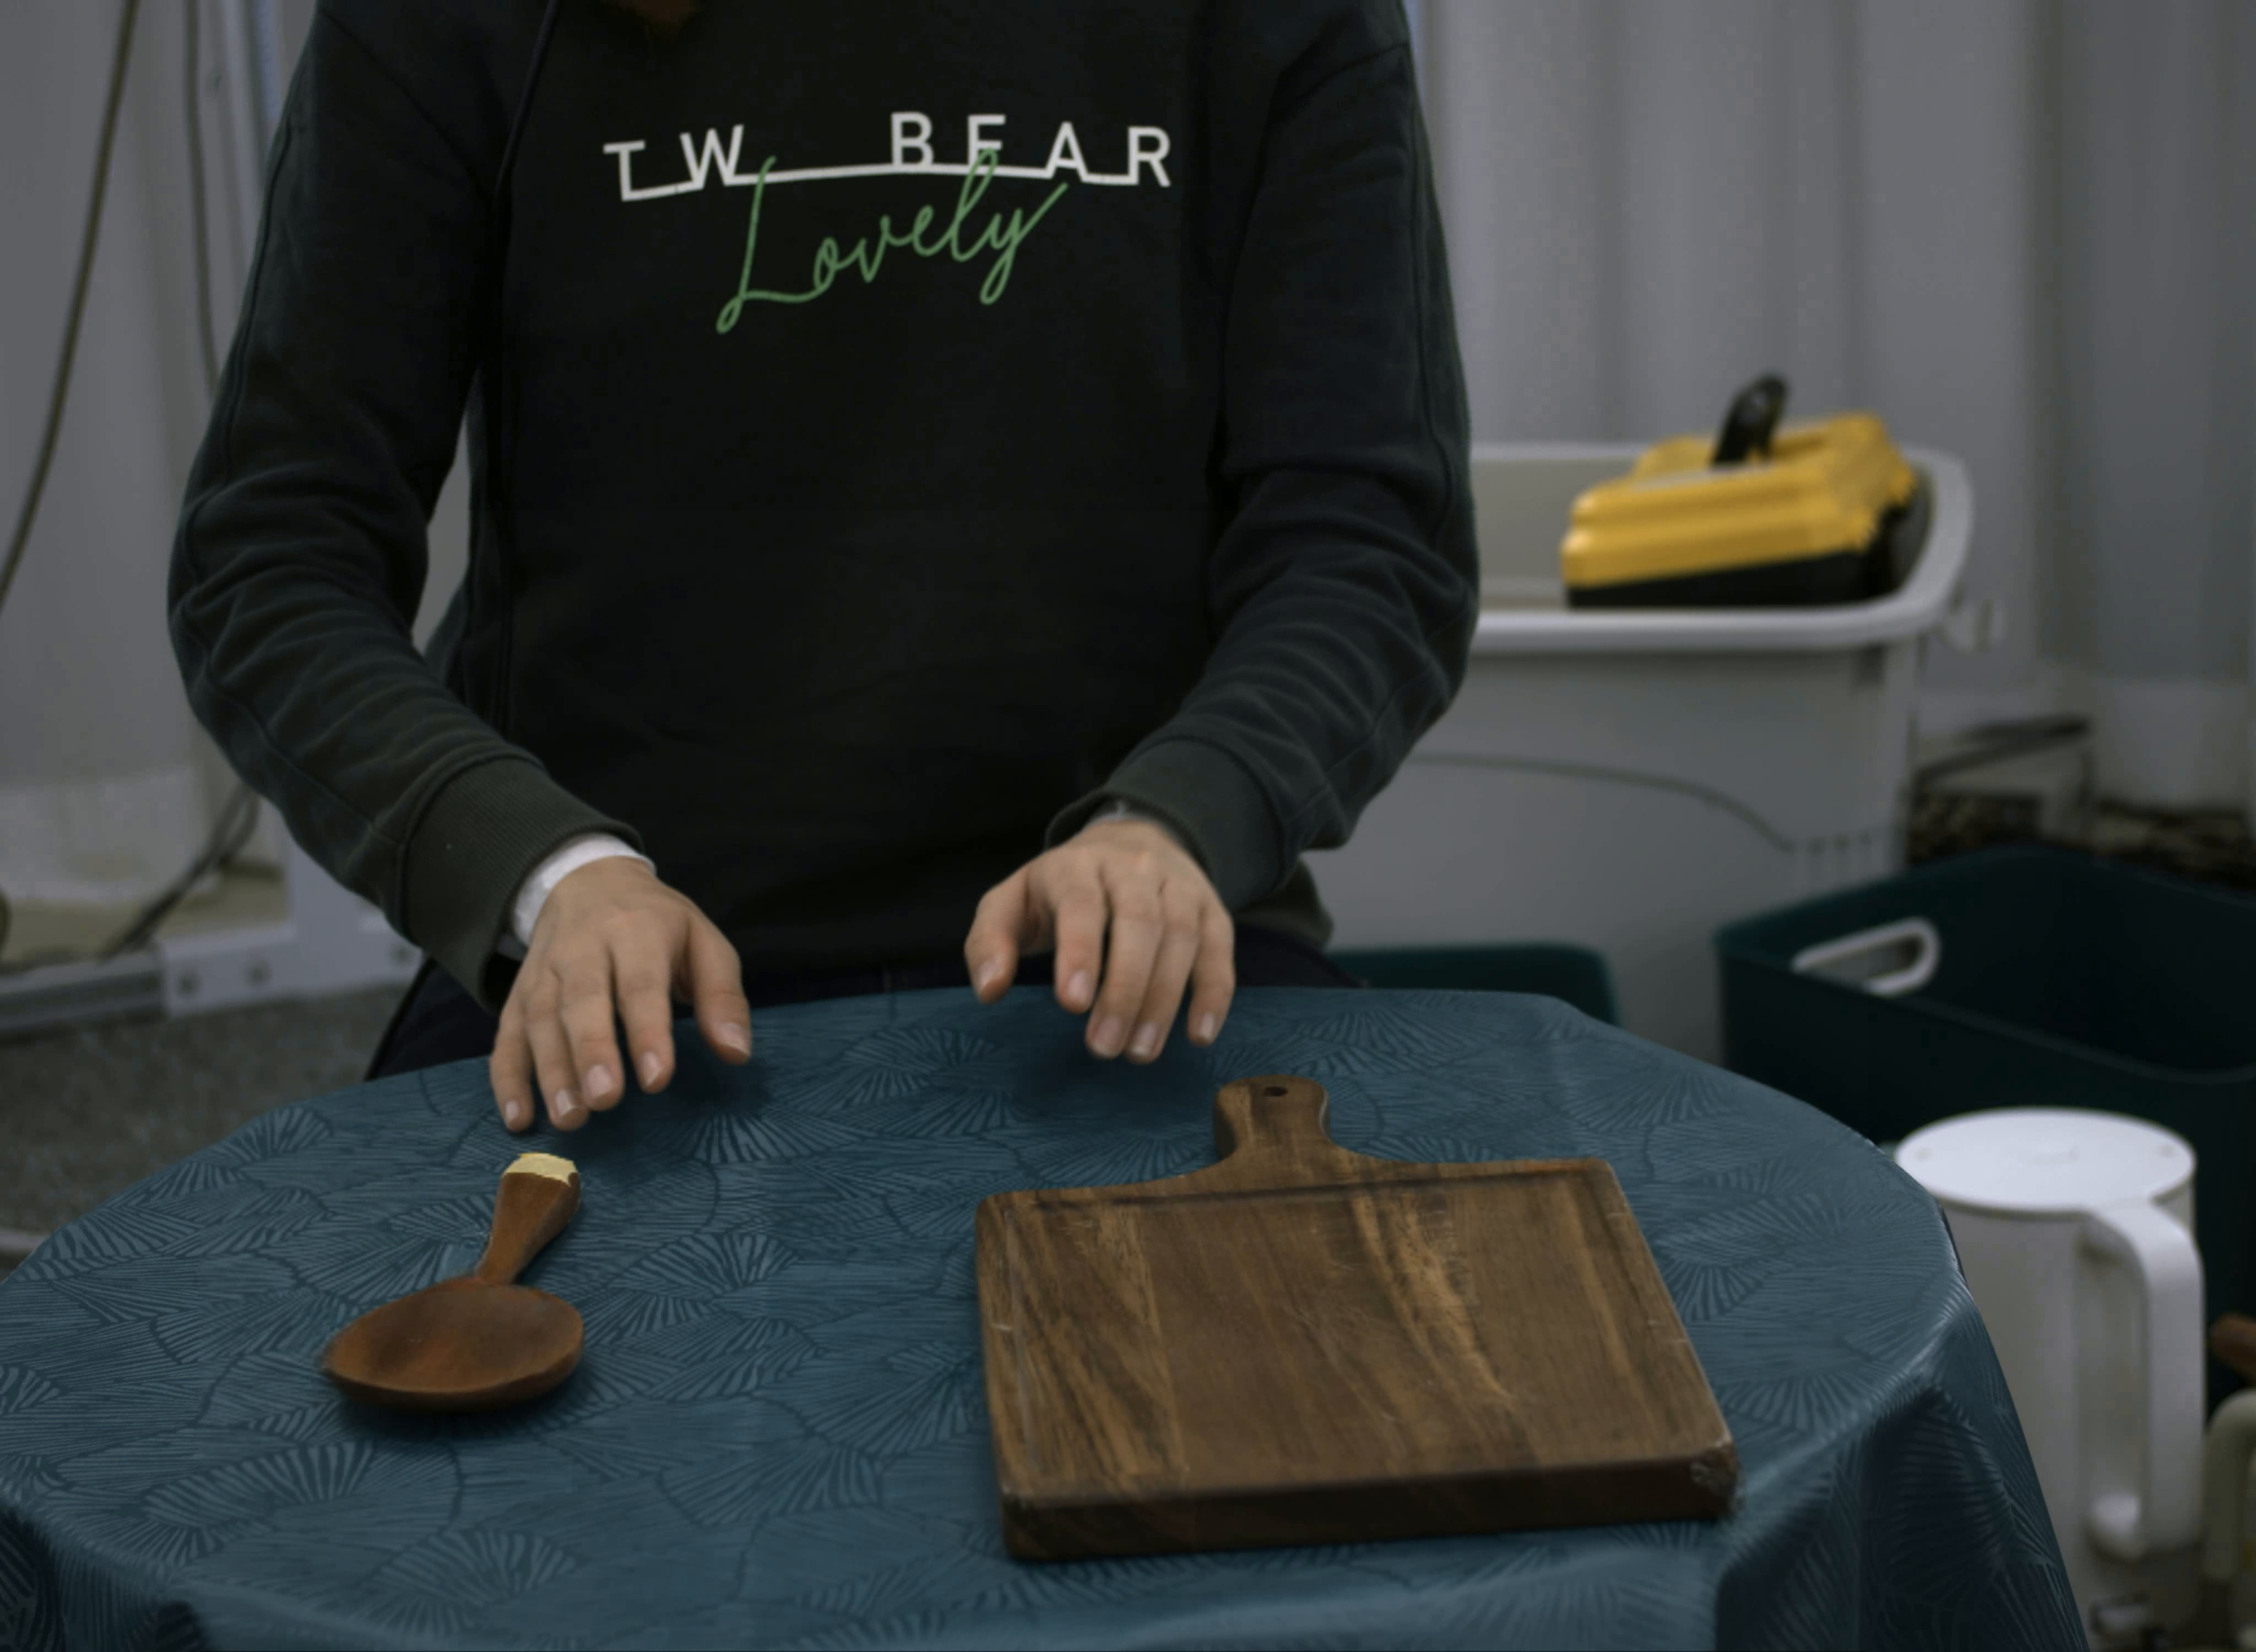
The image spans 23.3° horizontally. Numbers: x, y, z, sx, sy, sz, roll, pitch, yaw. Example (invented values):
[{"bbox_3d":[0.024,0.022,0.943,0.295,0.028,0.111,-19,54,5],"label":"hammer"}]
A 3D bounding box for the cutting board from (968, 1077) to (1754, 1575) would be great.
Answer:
[{"bbox_3d":[0.055,0.135,1.592,0.200,0.023,0.354,-4,15,-2],"label":"cutting board"}]

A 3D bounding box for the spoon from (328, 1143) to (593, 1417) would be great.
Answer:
[{"bbox_3d":[-0.188,0.137,1.633,0.075,0.017,0.217,-4,16,4],"label":"spoon"}]
